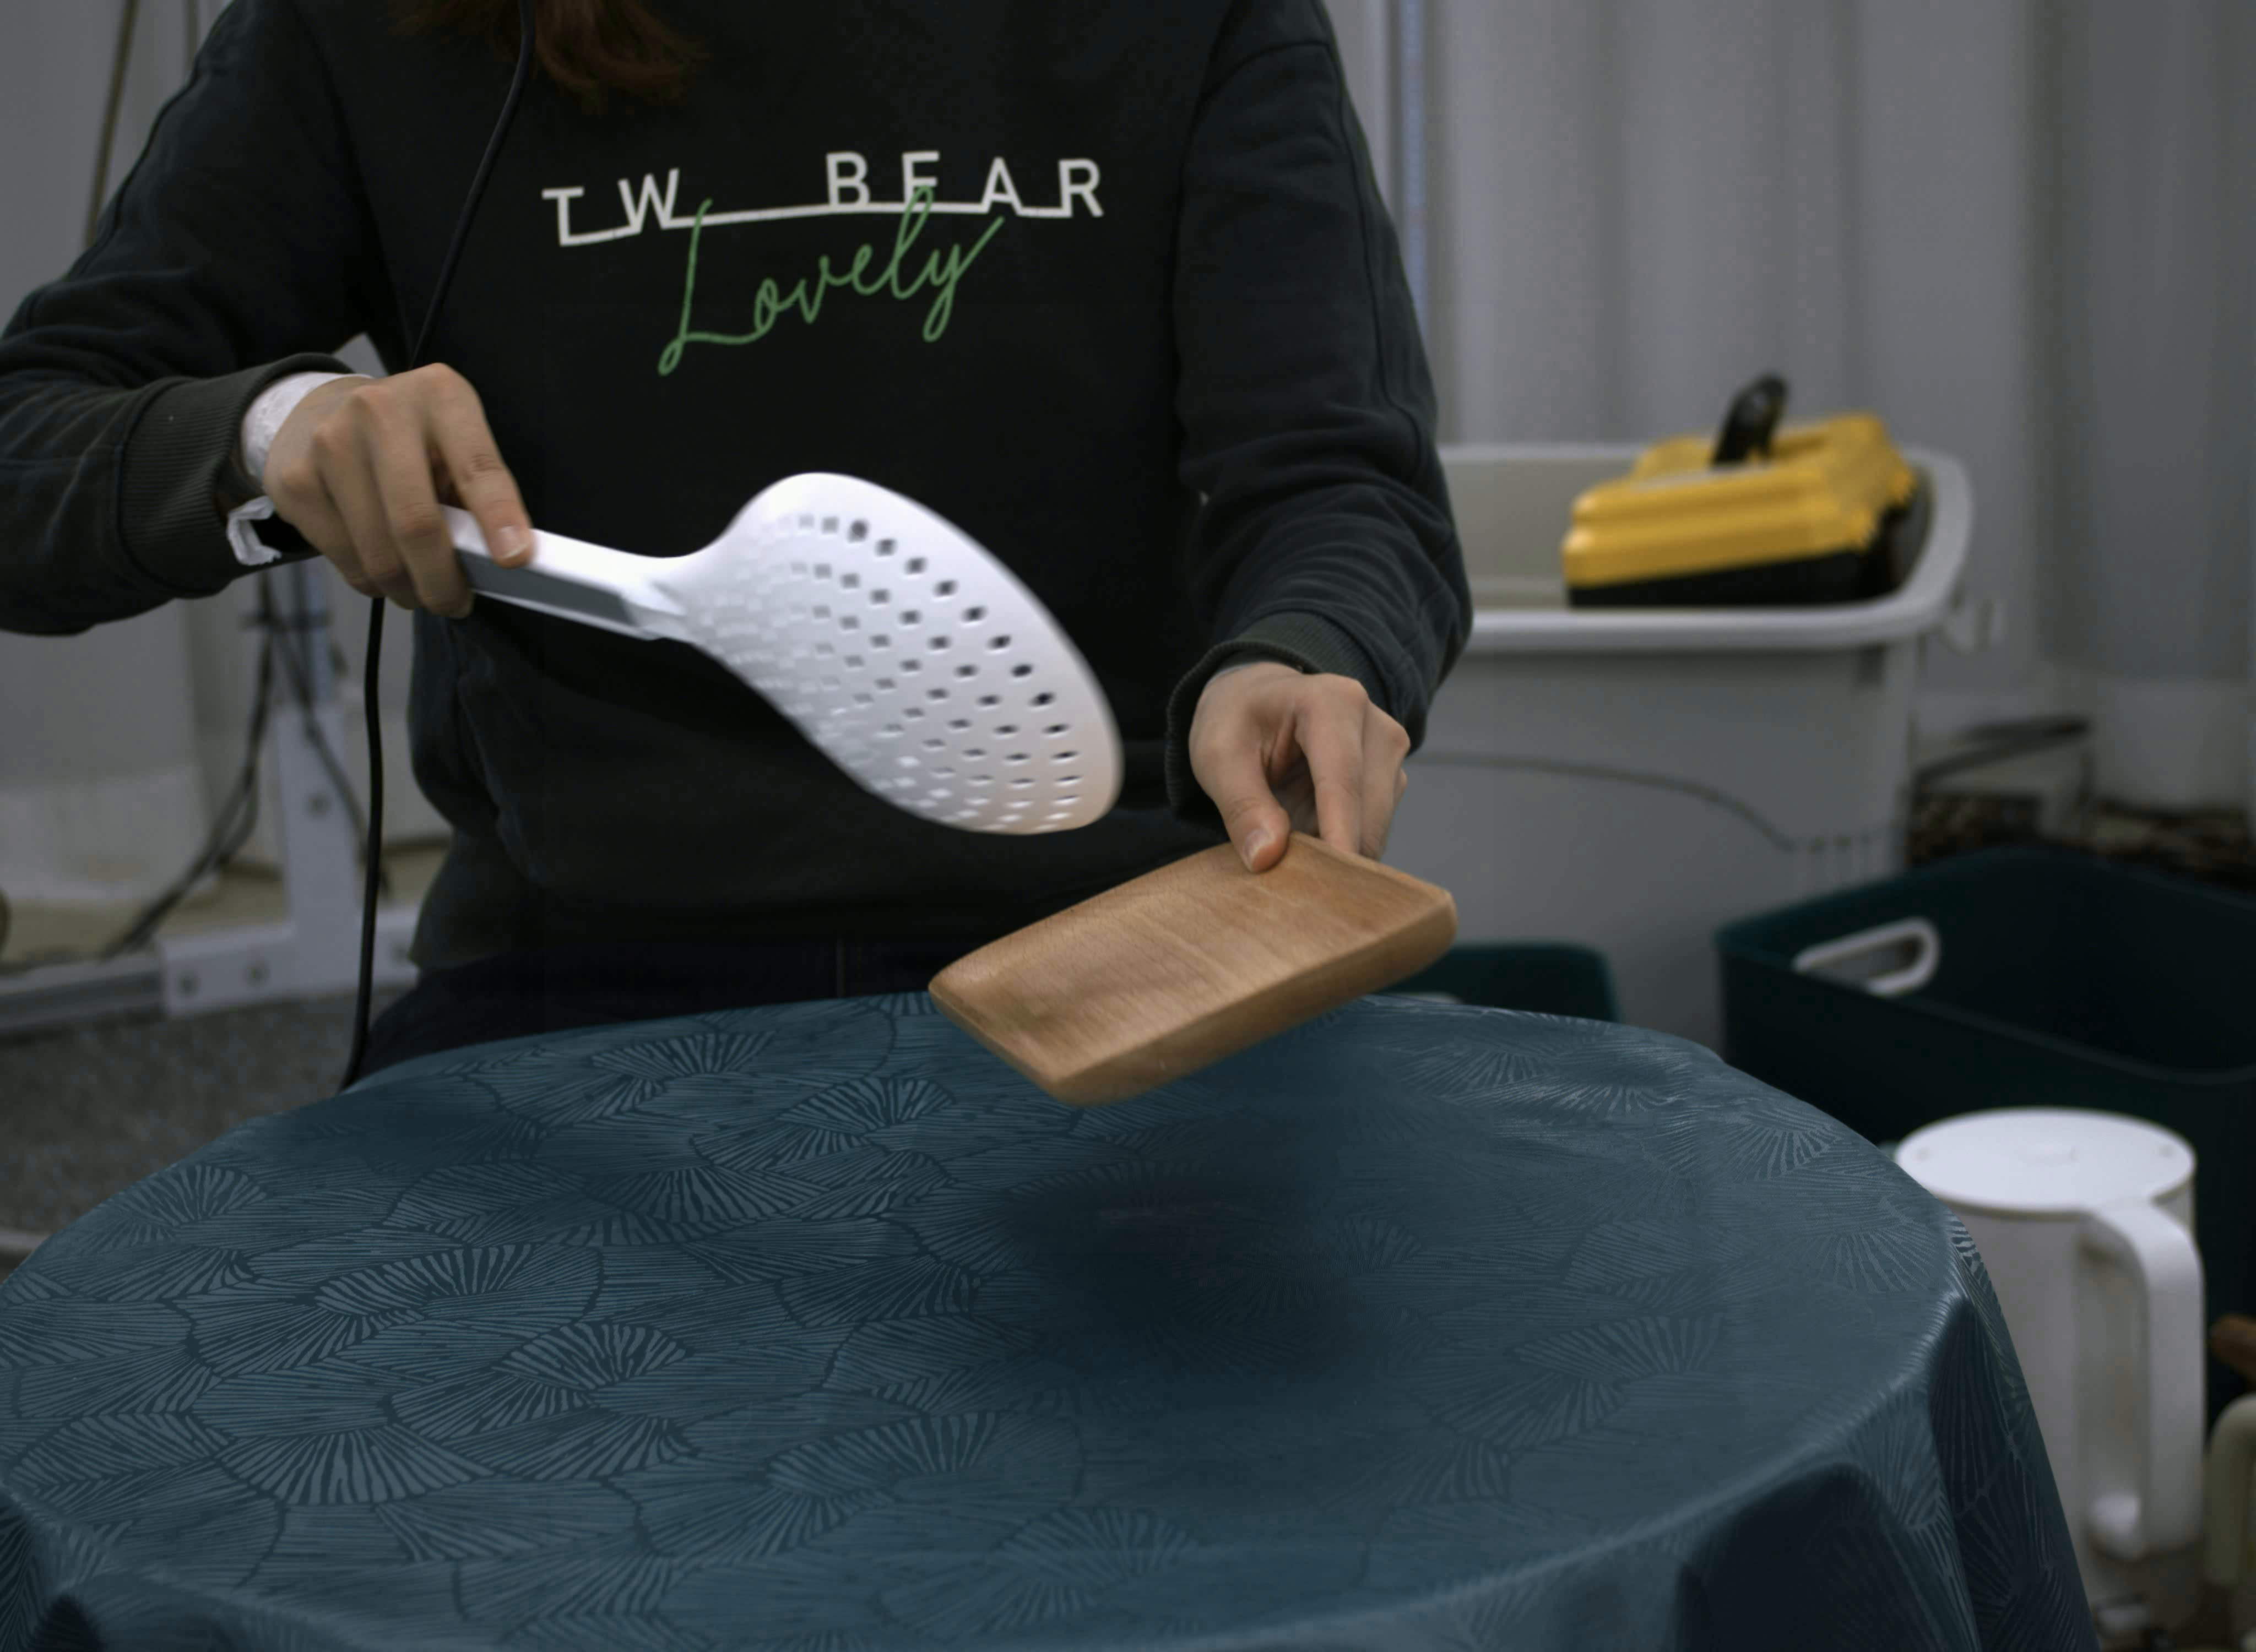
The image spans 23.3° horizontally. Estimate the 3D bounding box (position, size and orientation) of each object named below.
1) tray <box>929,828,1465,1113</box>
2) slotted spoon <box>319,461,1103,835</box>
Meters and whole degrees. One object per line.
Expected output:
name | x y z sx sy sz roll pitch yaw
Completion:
tray | 0.017 0.041 1.614 0.130 0.023 0.251 -21 8 -8
slotted spoon | -0.139 -0.069 1.680 0.046 0.134 0.352 -41 37 -24
